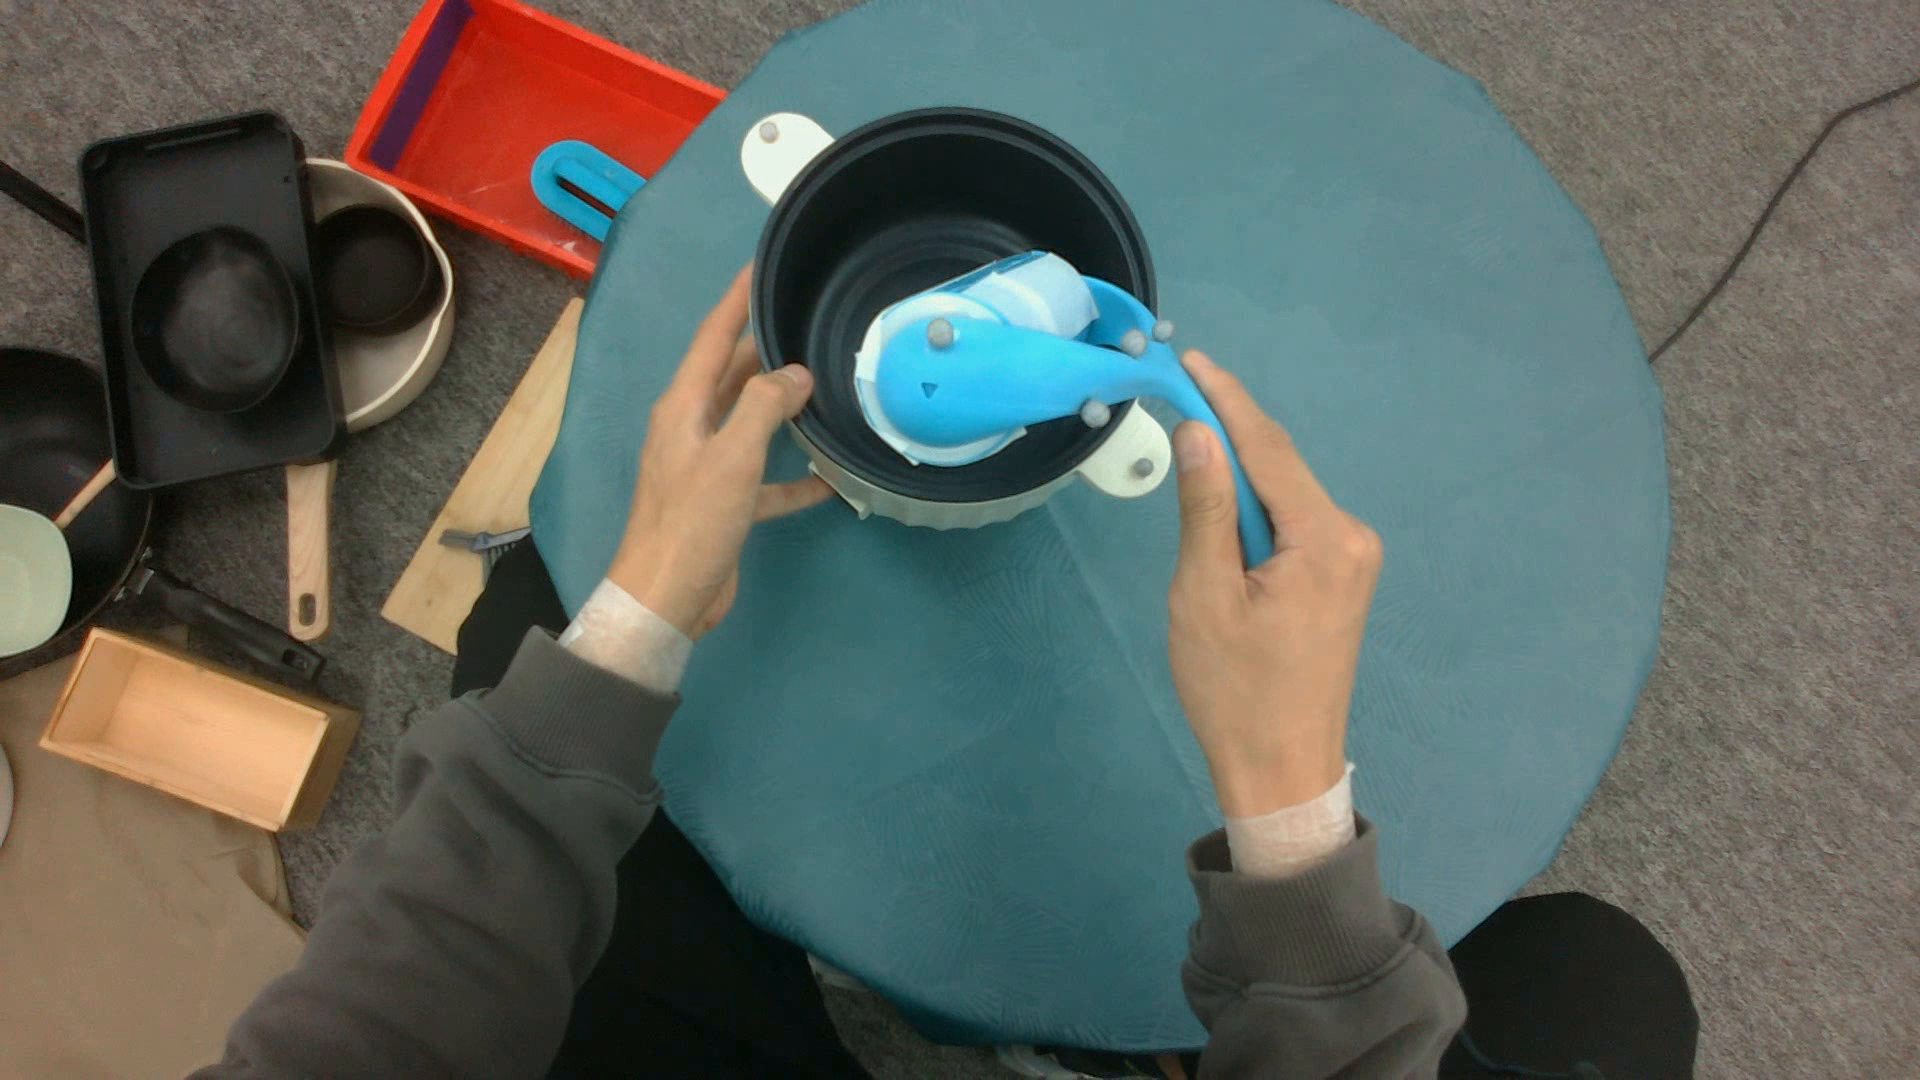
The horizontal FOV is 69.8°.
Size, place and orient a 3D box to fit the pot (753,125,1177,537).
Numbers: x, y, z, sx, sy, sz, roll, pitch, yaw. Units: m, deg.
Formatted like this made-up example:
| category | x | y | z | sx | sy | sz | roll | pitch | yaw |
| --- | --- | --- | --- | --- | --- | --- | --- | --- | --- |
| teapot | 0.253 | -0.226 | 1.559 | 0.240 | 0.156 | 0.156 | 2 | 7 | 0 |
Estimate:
| category | x | y | z | sx | sy | sz | roll | pitch | yaw |
| --- | --- | --- | --- | --- | --- | --- | --- | --- | --- |
| pot | 0.002 | -0.097 | 0.687 | 0.240 | 0.142 | 0.190 | 41 | 85 | 3 |

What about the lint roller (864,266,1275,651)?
| category | x | y | z | sx | sy | sz | roll | pitch | yaw |
| --- | --- | --- | --- | --- | --- | --- | --- | --- | --- |
| lint roller | 0.063 | -0.036 | 0.522 | 0.180 | 0.229 | 0.068 | 36 | 107 | -2 |
